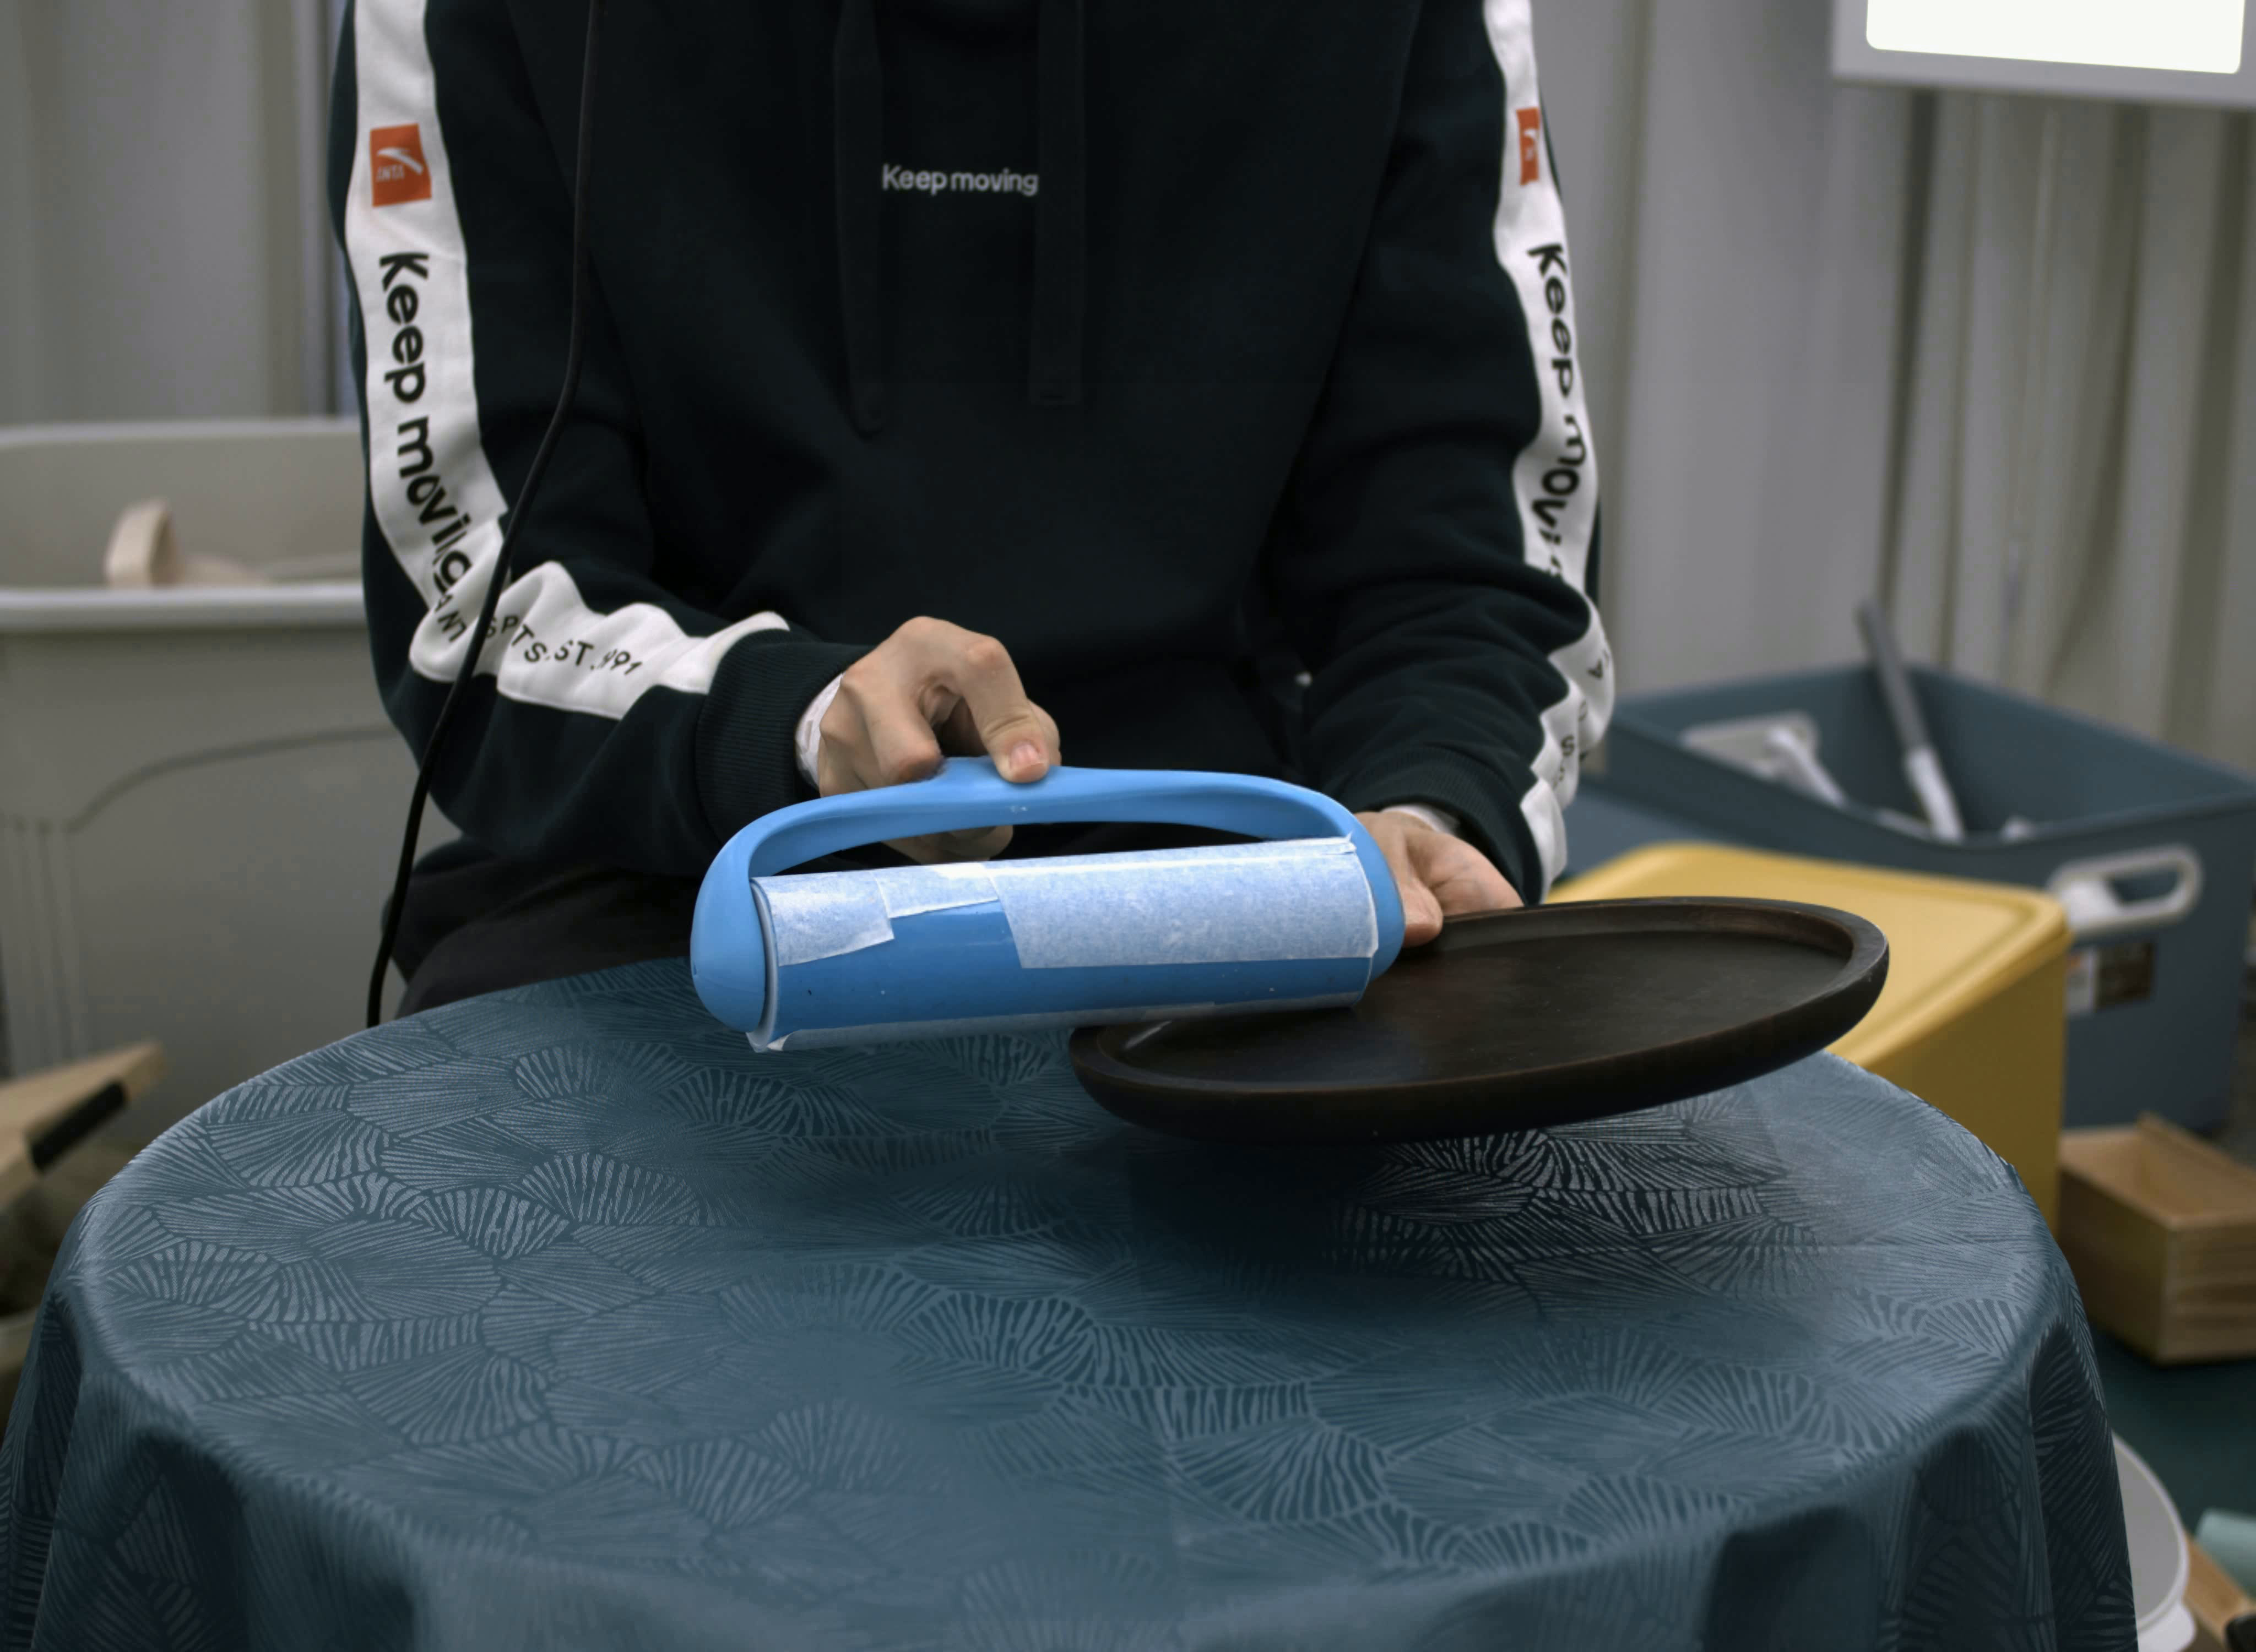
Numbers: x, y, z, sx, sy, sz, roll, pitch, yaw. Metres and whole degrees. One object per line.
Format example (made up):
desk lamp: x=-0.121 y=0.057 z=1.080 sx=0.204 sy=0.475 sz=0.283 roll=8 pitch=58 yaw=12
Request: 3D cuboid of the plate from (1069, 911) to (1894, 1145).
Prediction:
plate: x=0.108 y=0.059 z=1.606 sx=0.254 sy=0.029 sz=0.254 roll=-6 pitch=9 yaw=2

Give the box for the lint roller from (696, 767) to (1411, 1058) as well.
lint roller: x=-0.042 y=0.013 z=1.667 sx=0.229 sy=0.068 sz=0.178 roll=-6 pitch=25 yaw=-21
